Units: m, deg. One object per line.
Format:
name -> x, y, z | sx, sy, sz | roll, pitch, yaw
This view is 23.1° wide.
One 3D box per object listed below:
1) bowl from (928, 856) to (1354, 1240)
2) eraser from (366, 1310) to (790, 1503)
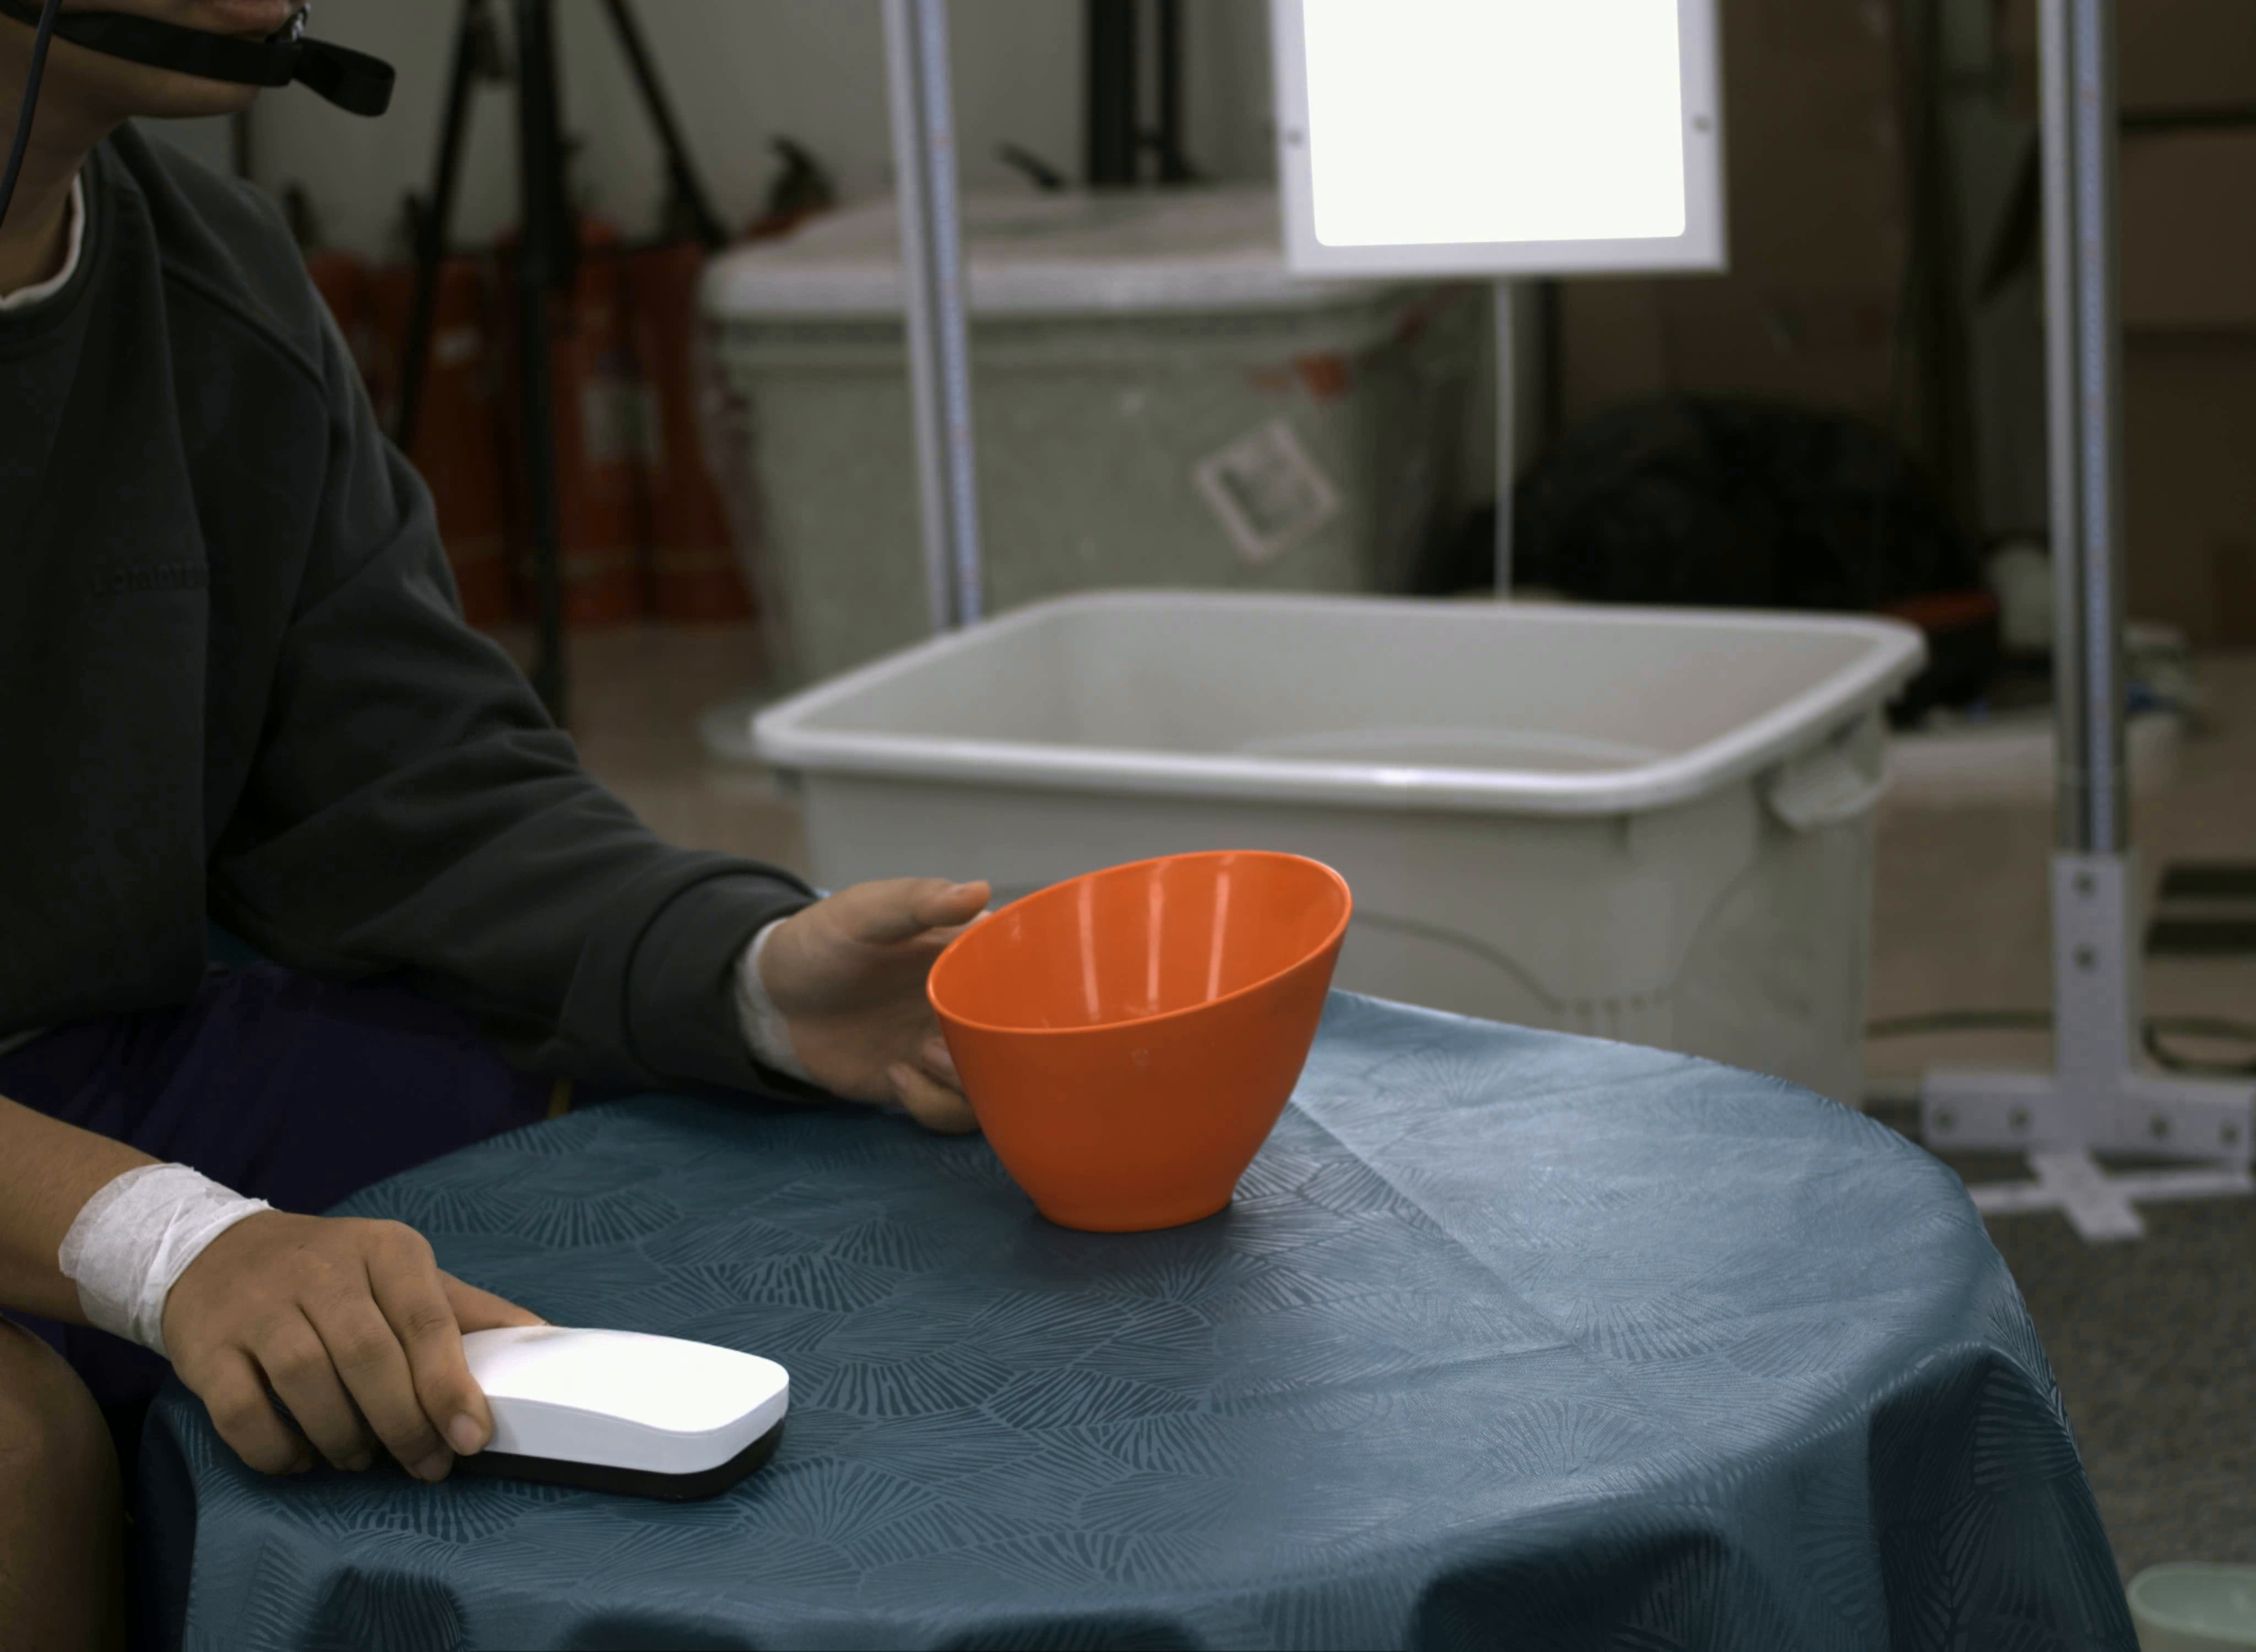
bowl -> 0.008, 0.079, 1.878 | 0.147, 0.105, 0.148 | -6, 14, 0
eraser -> -0.167, 0.176, 1.688 | 0.134, 0.034, 0.062 | 5, 16, 32
